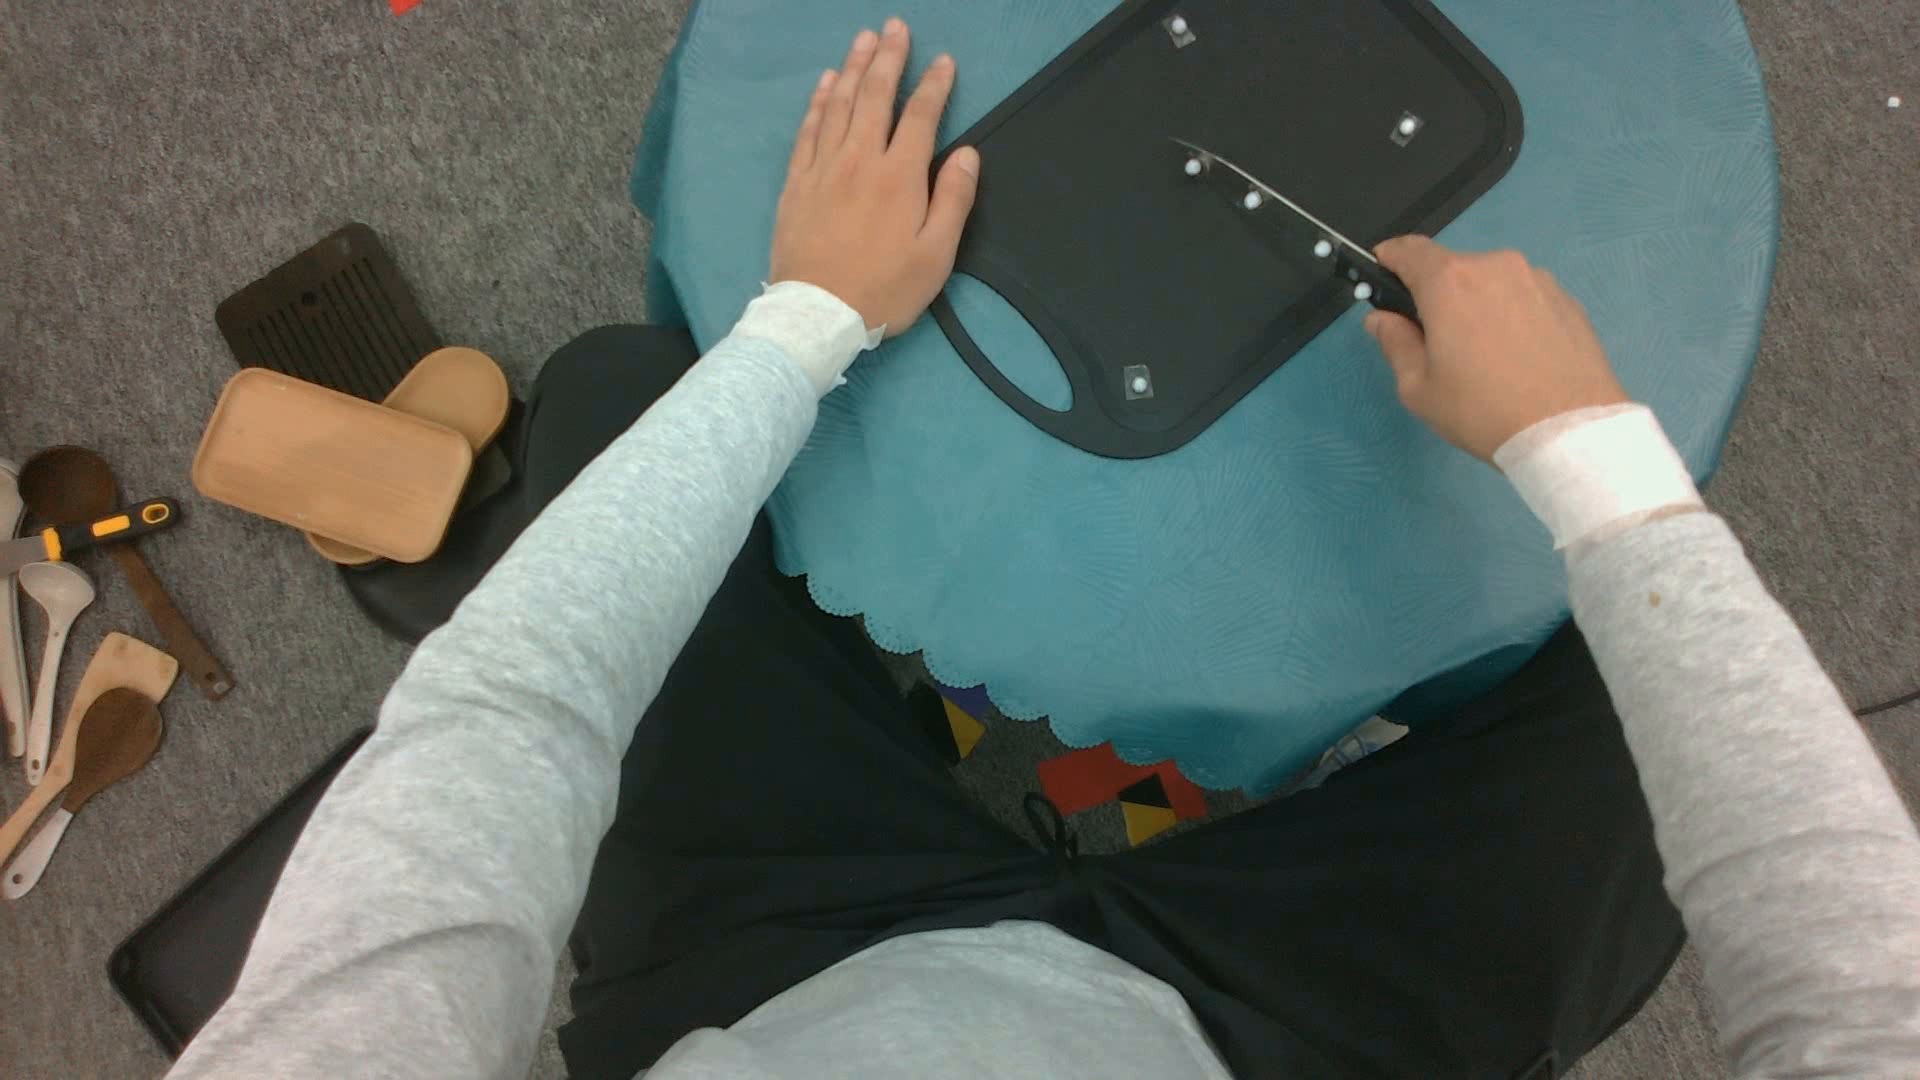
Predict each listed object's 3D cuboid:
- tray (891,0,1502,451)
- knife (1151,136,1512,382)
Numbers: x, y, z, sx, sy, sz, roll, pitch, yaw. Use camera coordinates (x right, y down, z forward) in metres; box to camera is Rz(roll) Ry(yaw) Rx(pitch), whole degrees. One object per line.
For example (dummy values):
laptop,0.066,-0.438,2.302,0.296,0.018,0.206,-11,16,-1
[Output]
tray,0.123,-0.198,0.745,0.326,0.010,0.211,-40,82,-5
knife,0.178,-0.151,0.691,0.016,0.024,0.238,-34,58,-19
